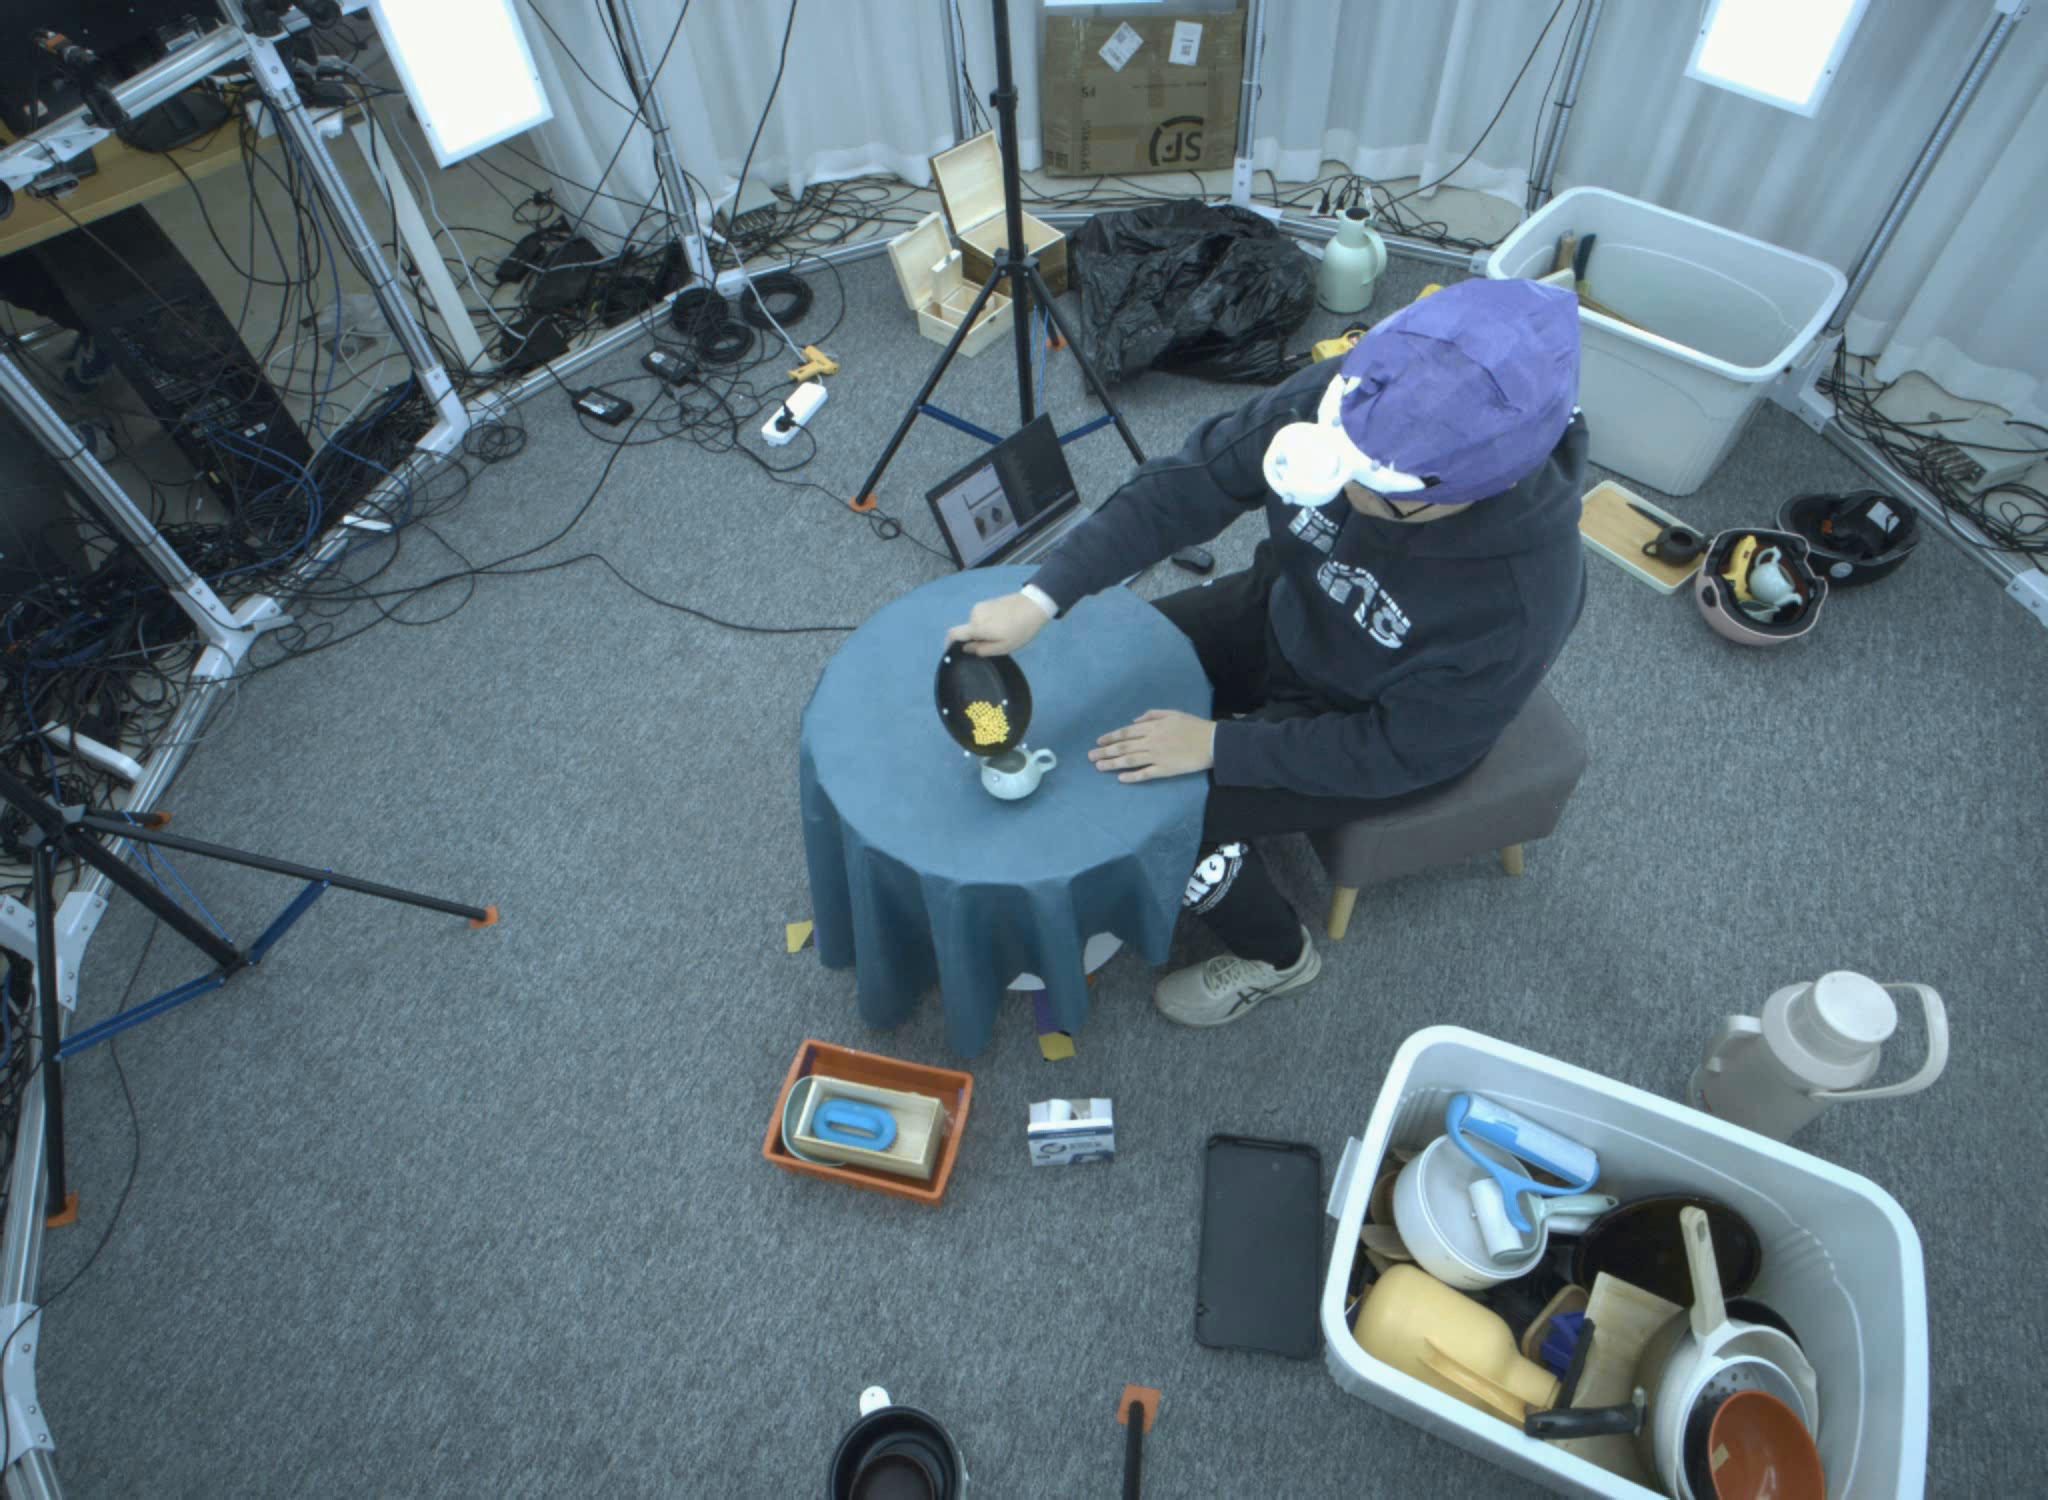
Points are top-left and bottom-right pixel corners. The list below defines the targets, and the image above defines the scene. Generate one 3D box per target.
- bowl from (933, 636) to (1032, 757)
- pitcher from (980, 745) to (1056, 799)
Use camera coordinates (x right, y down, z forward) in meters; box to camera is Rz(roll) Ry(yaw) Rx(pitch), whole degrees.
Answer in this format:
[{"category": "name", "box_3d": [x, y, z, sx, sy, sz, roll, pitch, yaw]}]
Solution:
[{"category": "bowl", "box_3d": [-0.068, -0.072, 1.693, 0.139, 0.172, 0.065, -31, 17, -25]}, {"category": "pitcher", "box_3d": [-0.009, 0.026, 1.736, 0.108, 0.061, 0.085, -9, 55, -6]}]
